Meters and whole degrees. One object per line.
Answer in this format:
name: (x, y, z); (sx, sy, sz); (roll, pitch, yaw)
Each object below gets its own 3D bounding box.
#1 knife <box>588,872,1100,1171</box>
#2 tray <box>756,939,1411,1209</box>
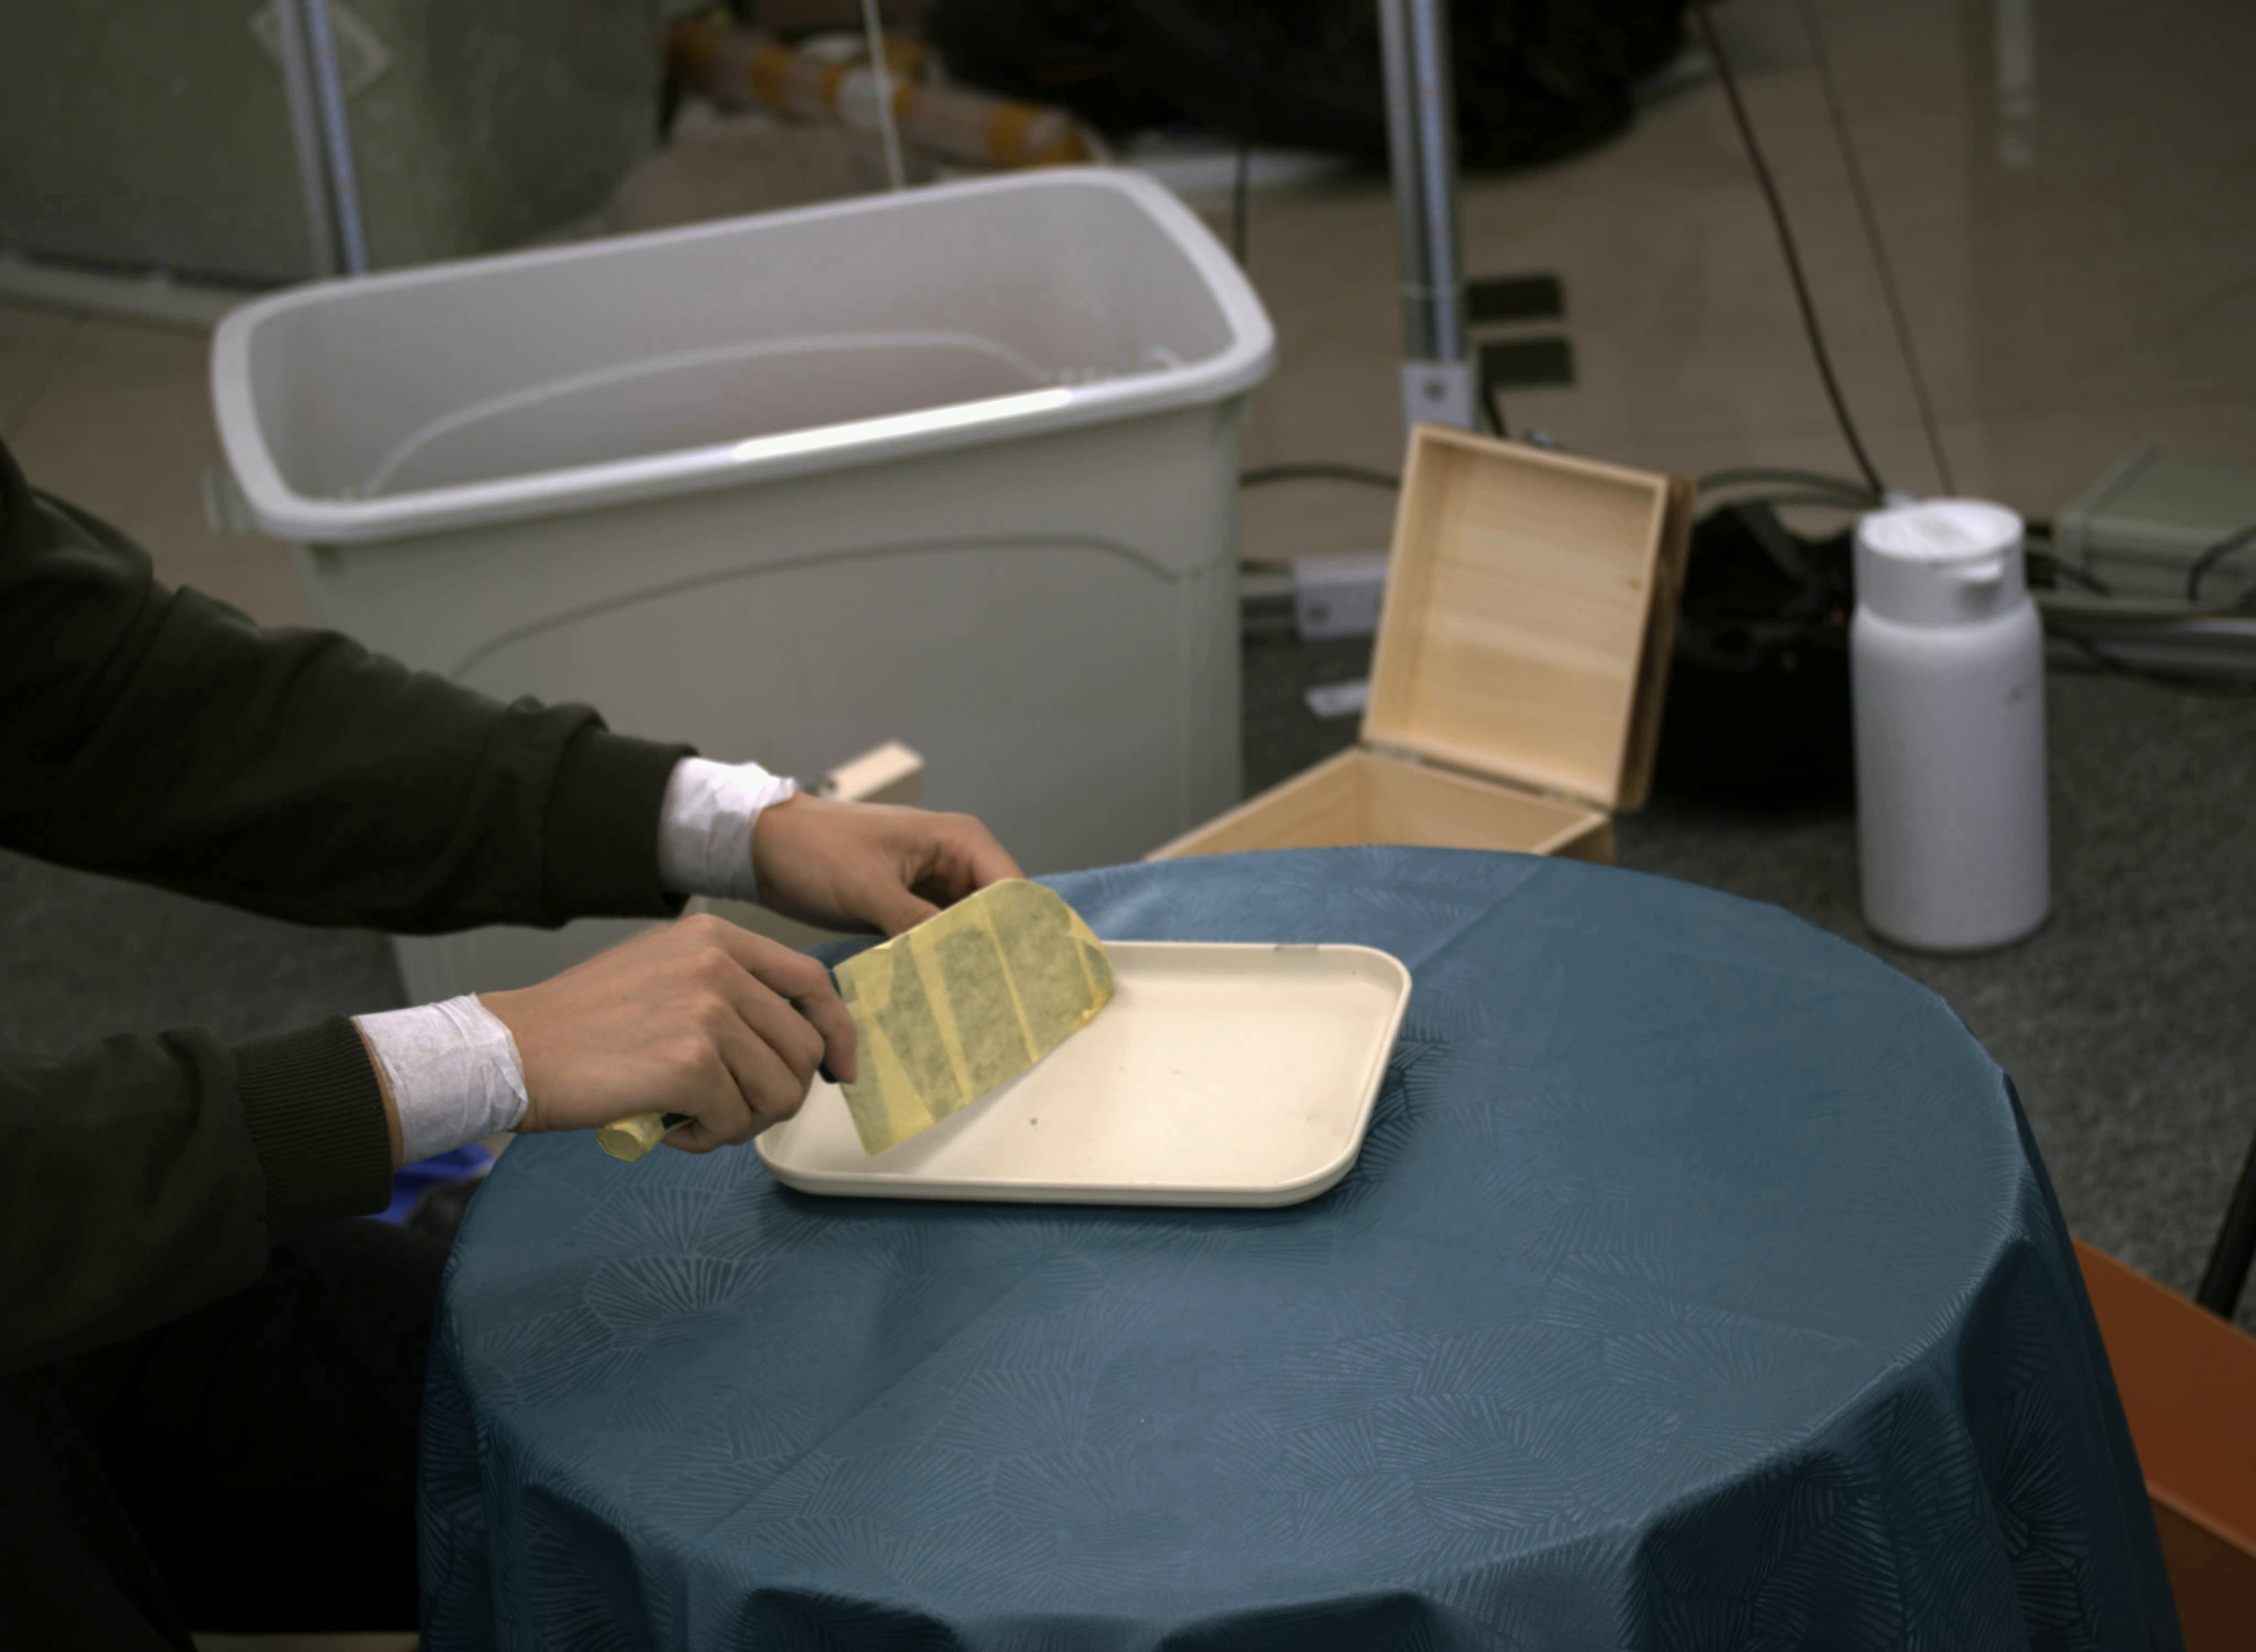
knife: (-0.100, 0.084, 2.156); (0.027, 0.081, 0.287); (-11, 9, 42)
tray: (-0.016, 0.096, 2.208); (0.239, 0.018, 0.168); (1, 33, 15)
